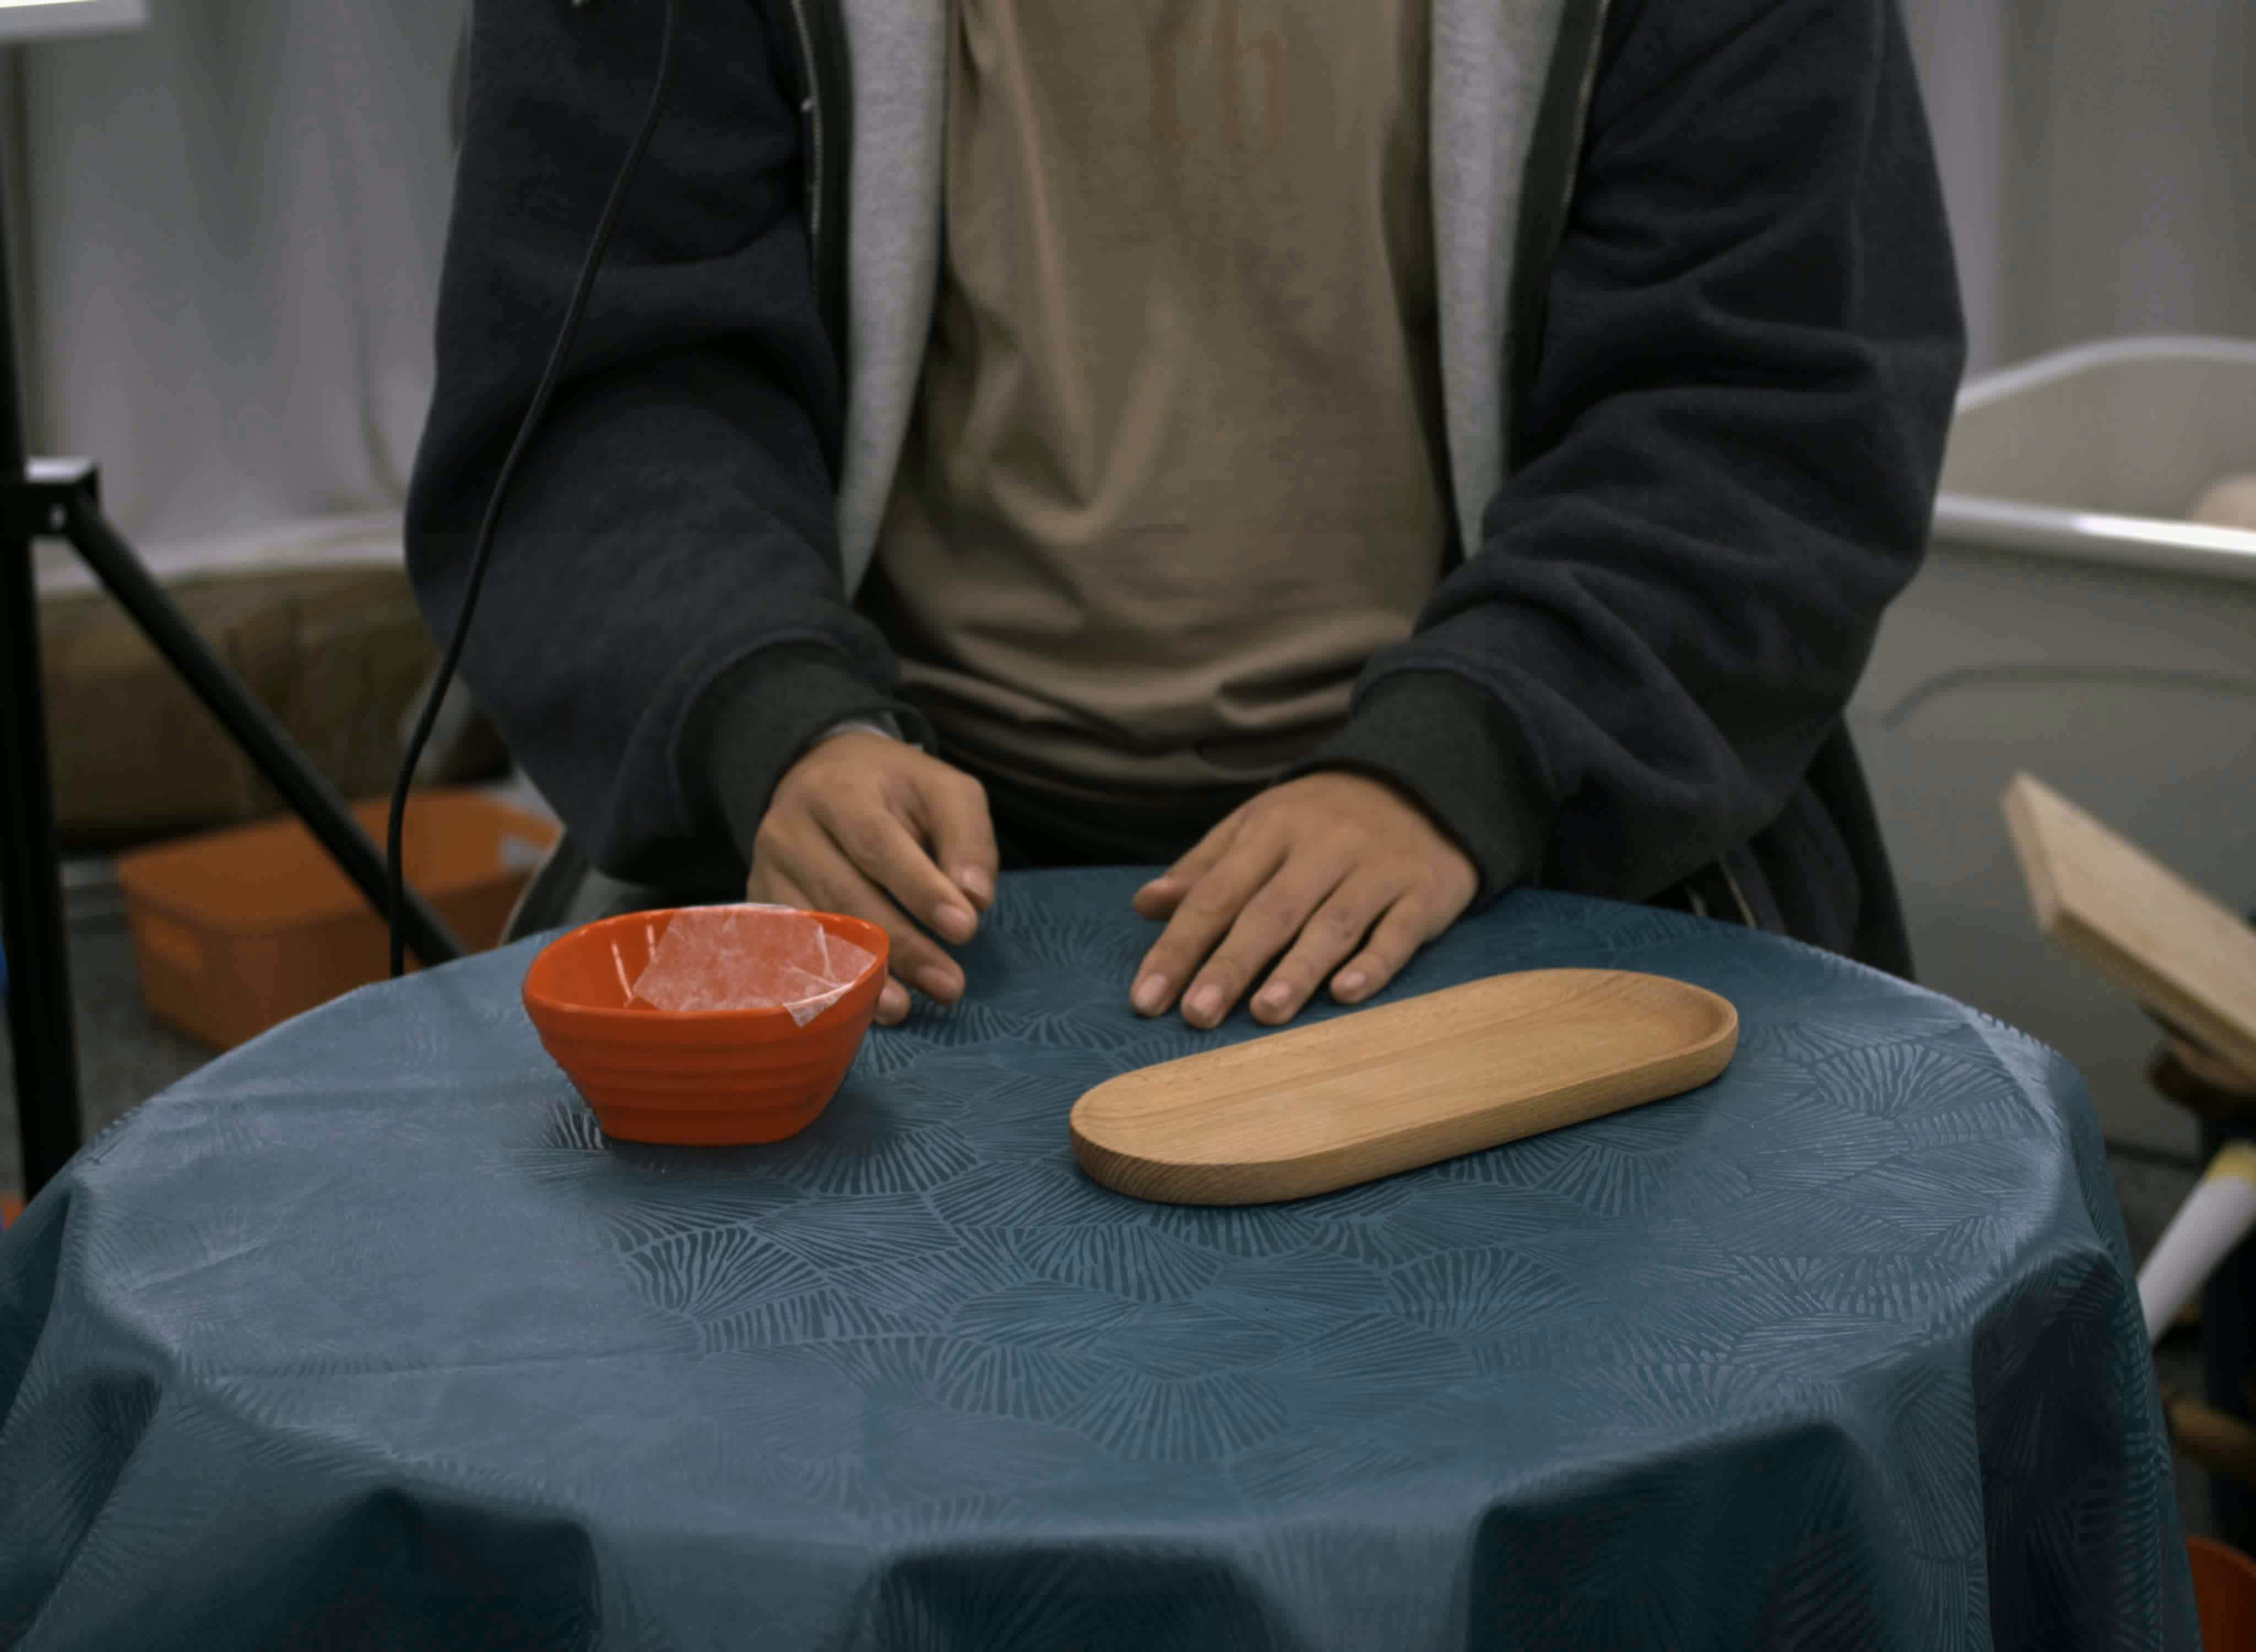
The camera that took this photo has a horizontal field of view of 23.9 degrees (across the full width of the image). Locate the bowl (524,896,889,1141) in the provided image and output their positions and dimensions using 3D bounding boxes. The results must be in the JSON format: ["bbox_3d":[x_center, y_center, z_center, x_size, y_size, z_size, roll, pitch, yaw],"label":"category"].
[{"bbox_3d":[-0.128,0.062,1.644,0.118,0.051,0.119,-4,17,0],"label":"bowl"}]

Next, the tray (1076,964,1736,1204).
[{"bbox_3d":[0.087,0.078,1.621,0.226,0.020,0.104,-12,19,-34],"label":"tray"}]
